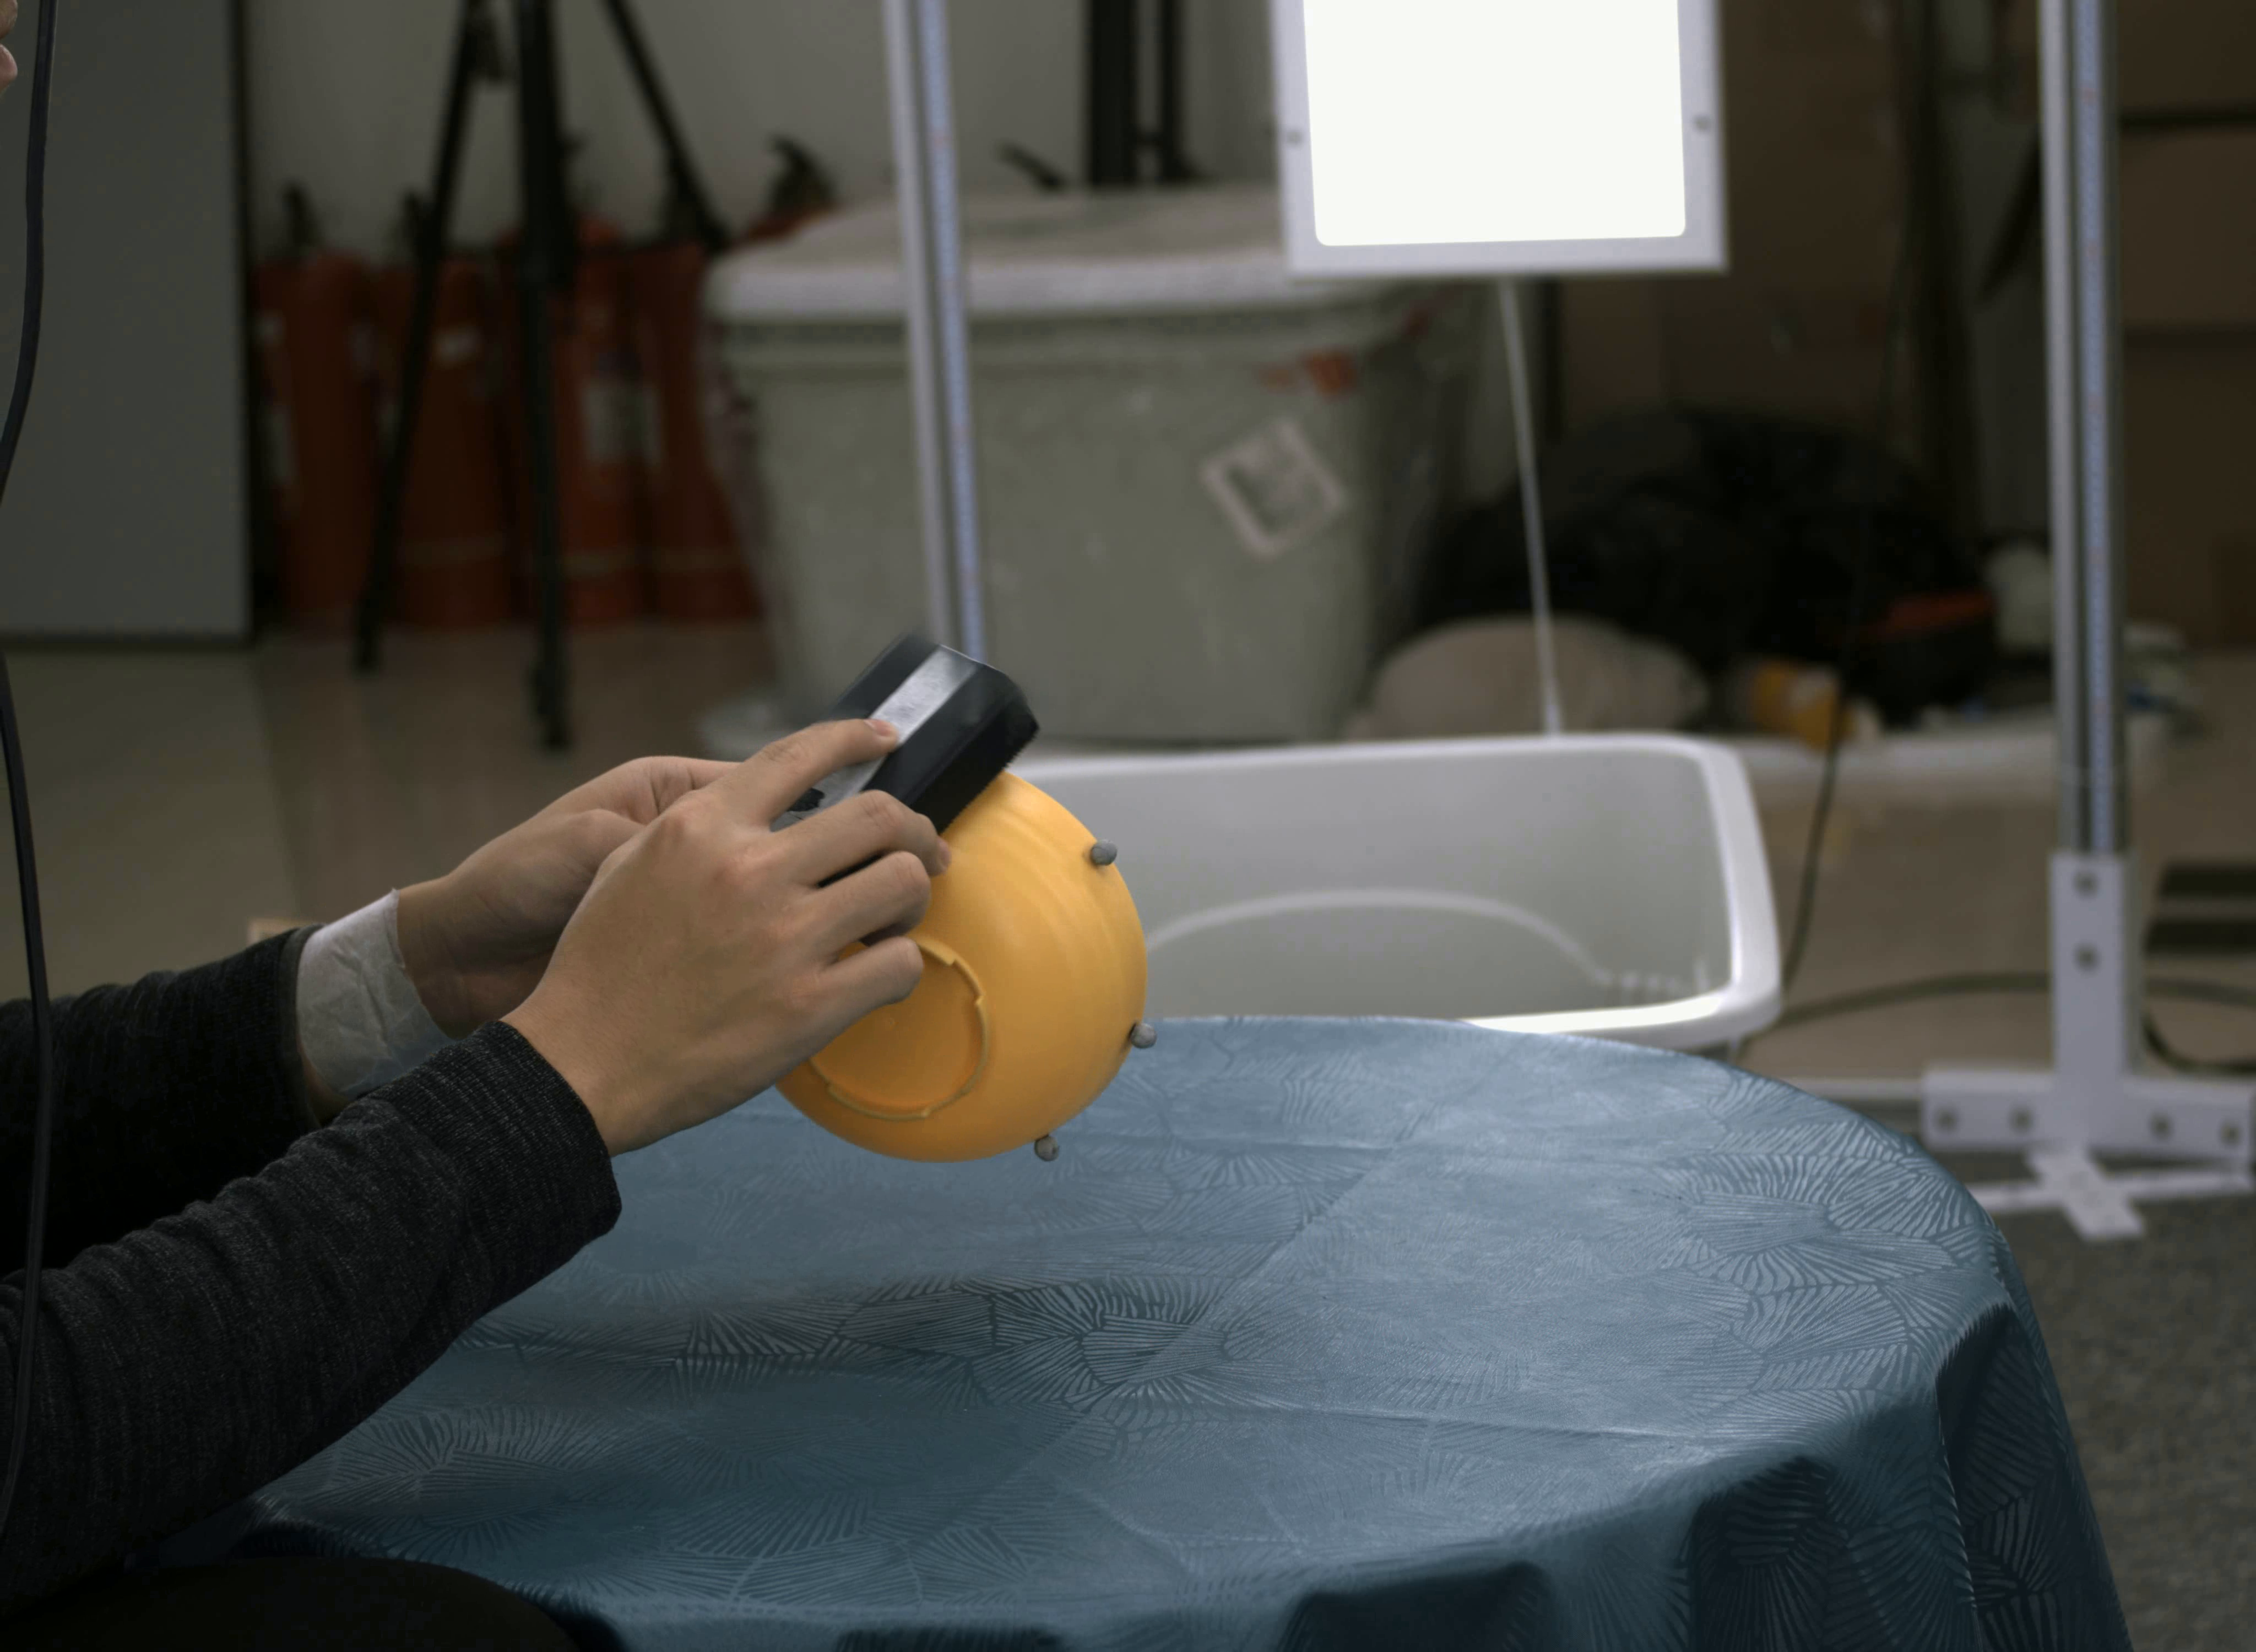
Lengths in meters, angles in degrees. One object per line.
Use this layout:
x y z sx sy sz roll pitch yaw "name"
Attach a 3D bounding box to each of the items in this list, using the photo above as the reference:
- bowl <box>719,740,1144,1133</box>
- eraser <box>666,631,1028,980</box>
-0.071 0.042 1.778 0.147 0.146 0.059 0 22 16 "bowl"
-0.088 -0.008 1.743 0.054 0.030 0.123 21 57 33 "eraser"
